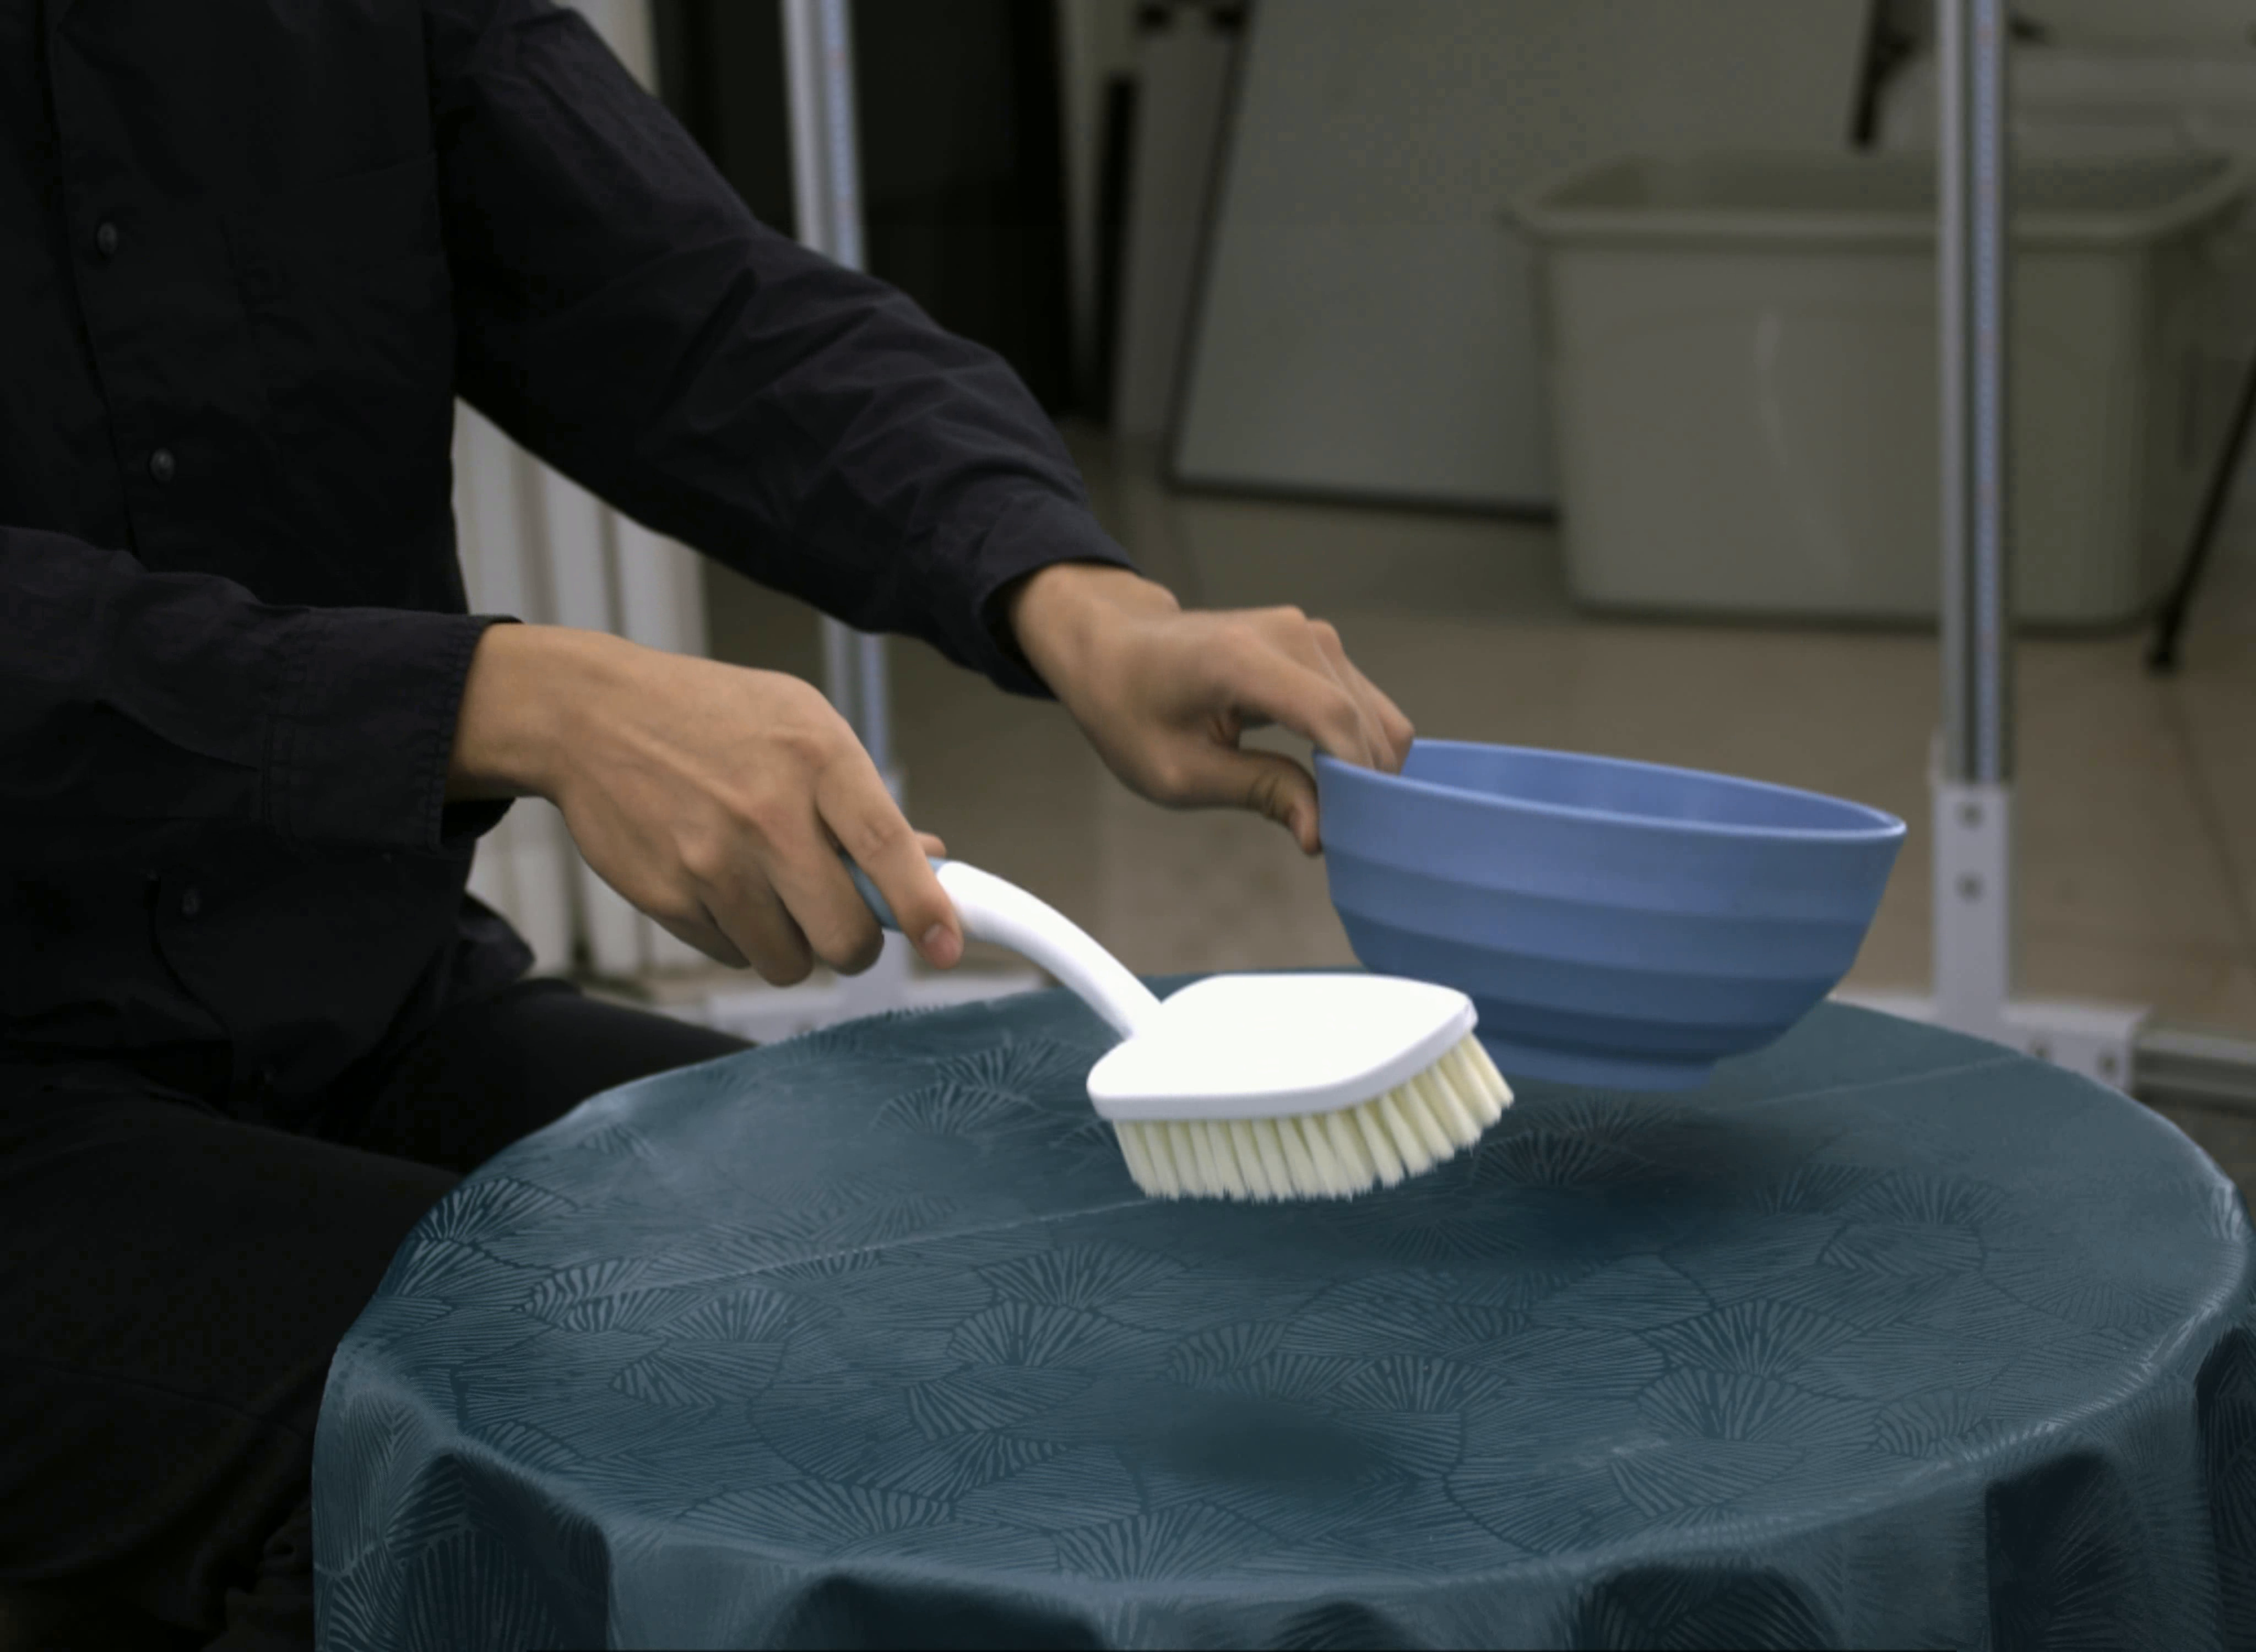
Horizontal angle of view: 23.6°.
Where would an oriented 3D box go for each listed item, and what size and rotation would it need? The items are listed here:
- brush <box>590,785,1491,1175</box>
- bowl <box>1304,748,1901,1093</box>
[{"bbox_3d":[-0.028,0.052,1.614,0.328,0.085,0.081,10,-1,37],"label":"brush"},{"bbox_3d":[0.149,0.032,1.751,0.194,0.096,0.196,5,5,-1],"label":"bowl"}]
